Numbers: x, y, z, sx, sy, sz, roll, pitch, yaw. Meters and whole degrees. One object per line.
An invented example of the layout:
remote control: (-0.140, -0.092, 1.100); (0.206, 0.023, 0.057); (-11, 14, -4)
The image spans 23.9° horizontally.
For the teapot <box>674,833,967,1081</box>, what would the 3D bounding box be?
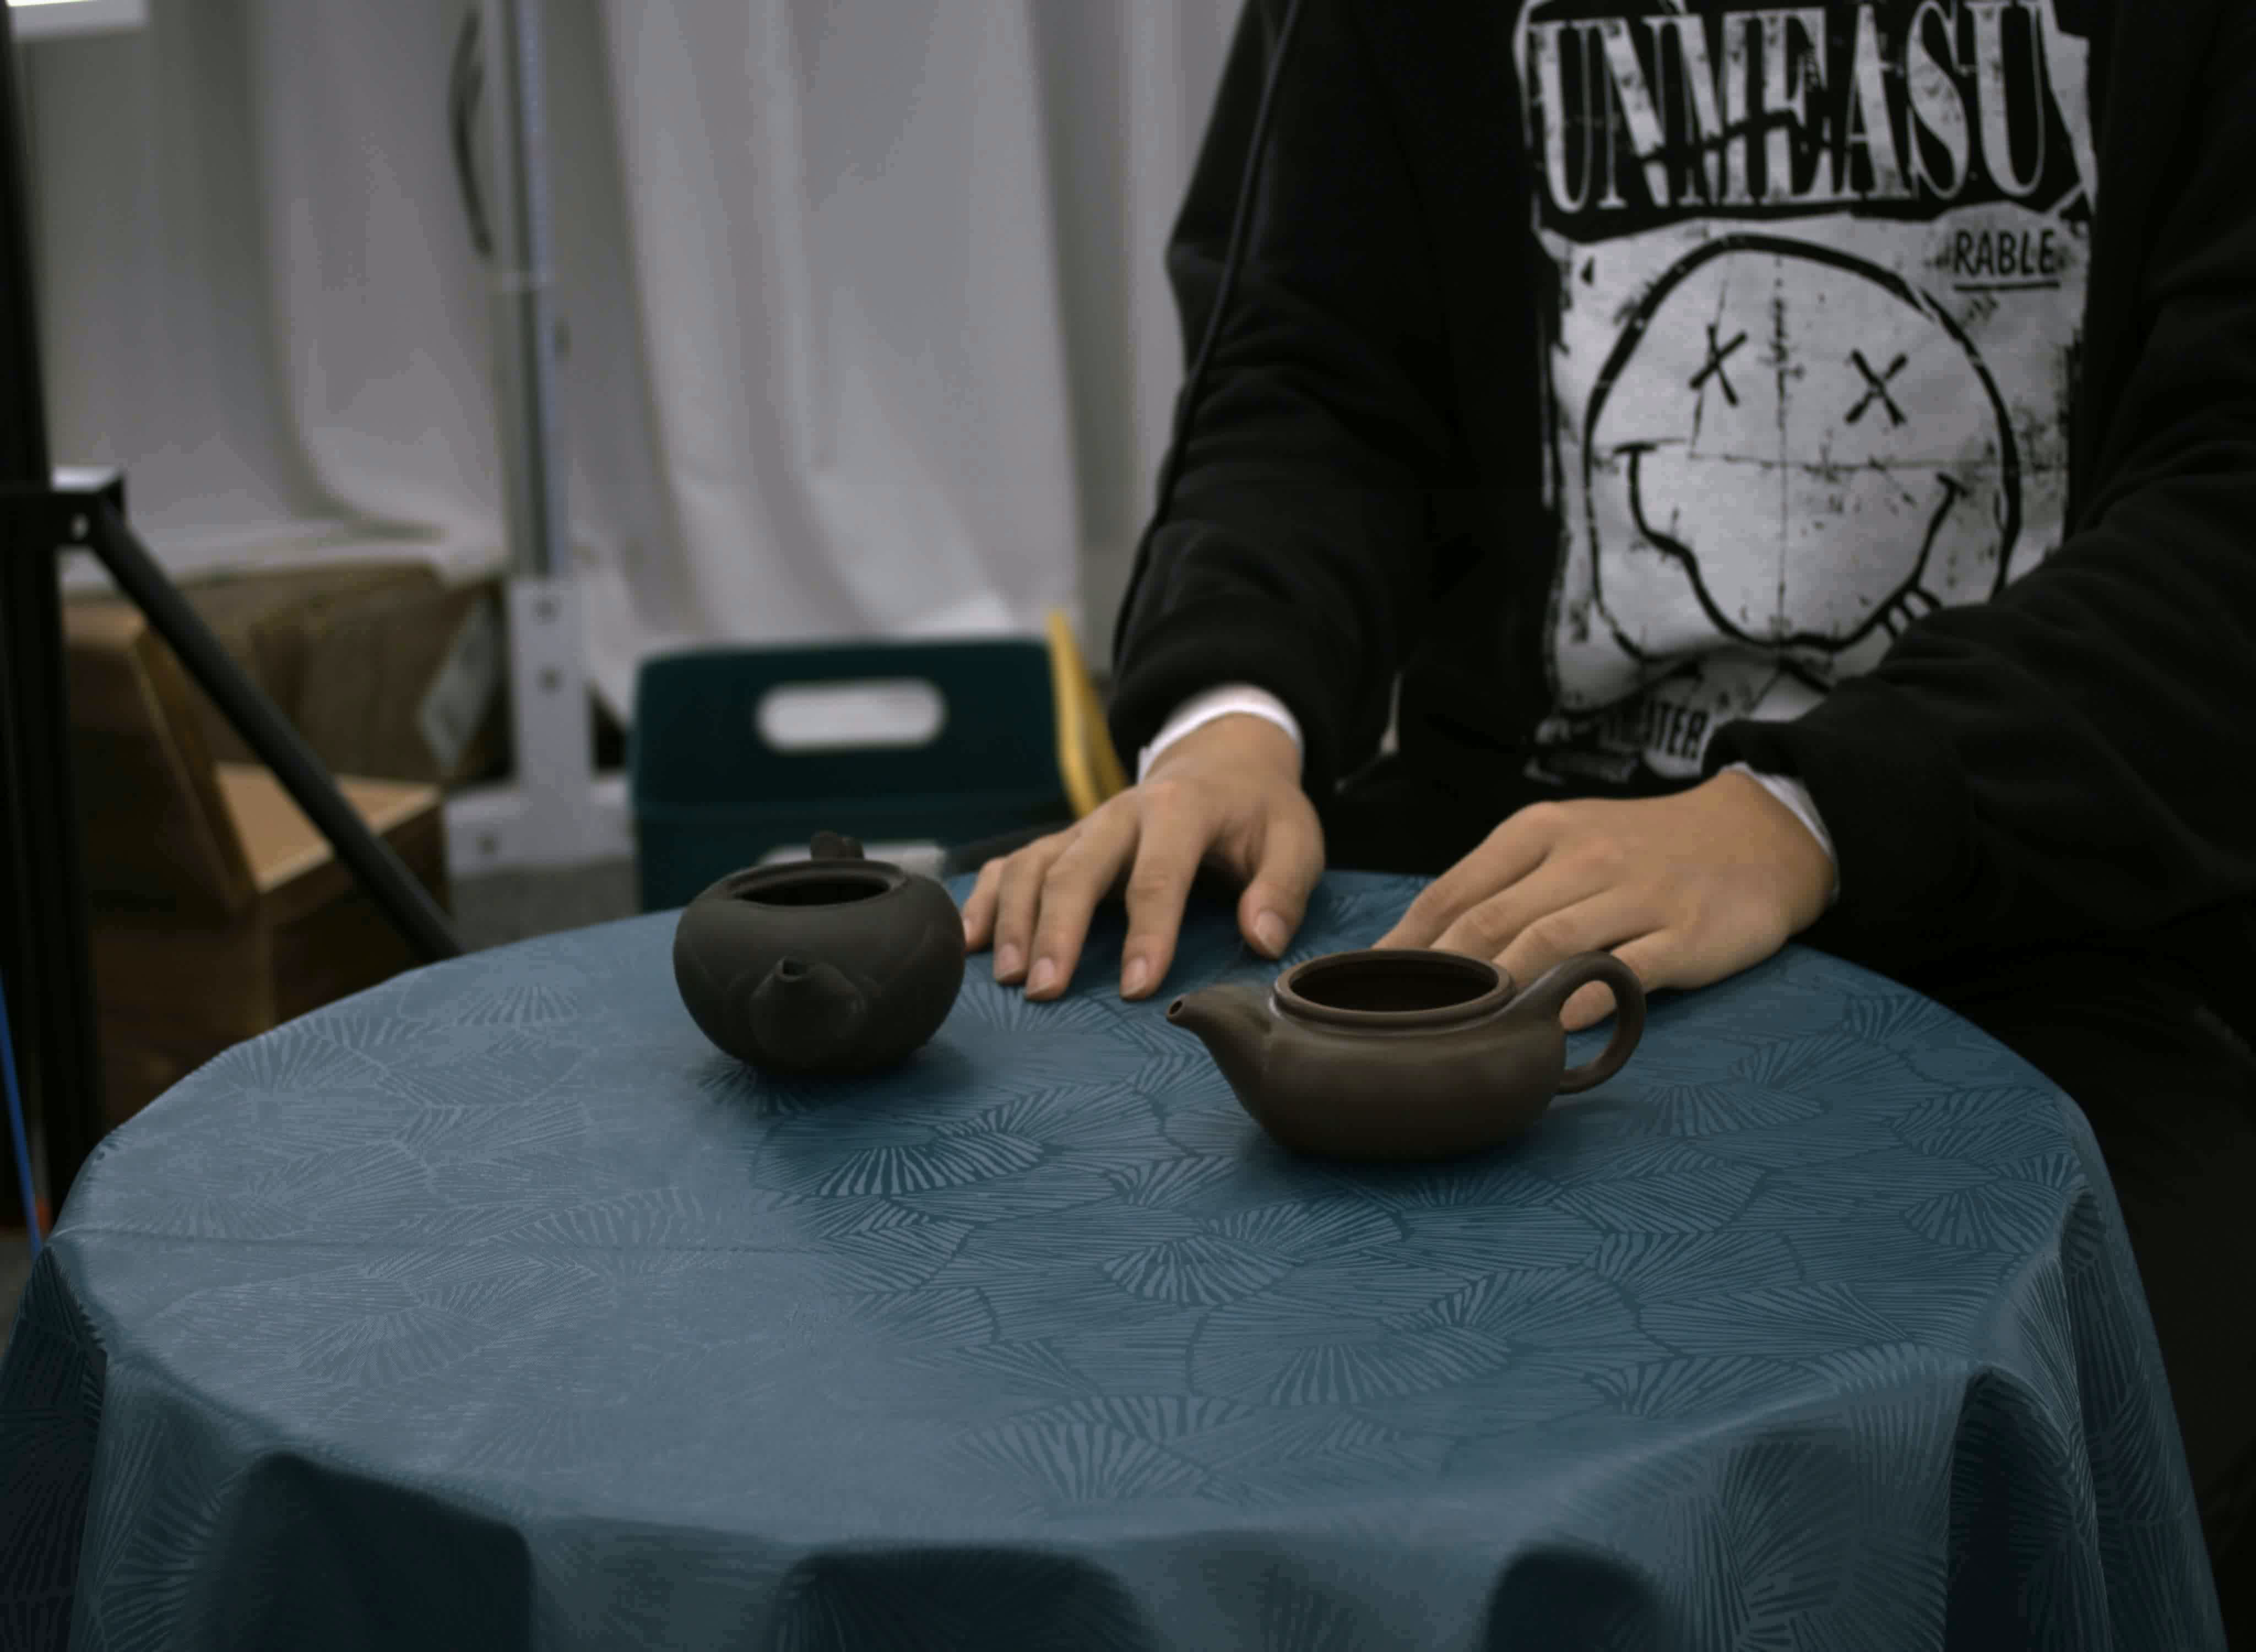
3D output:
teapot: (-0.097, 0.042, 1.688); (0.092, 0.064, 0.154); (1, 16, 5)

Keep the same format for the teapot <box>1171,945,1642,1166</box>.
teapot: (0.085, 0.066, 1.589); (0.150, 0.054, 0.104); (-10, 19, -22)
